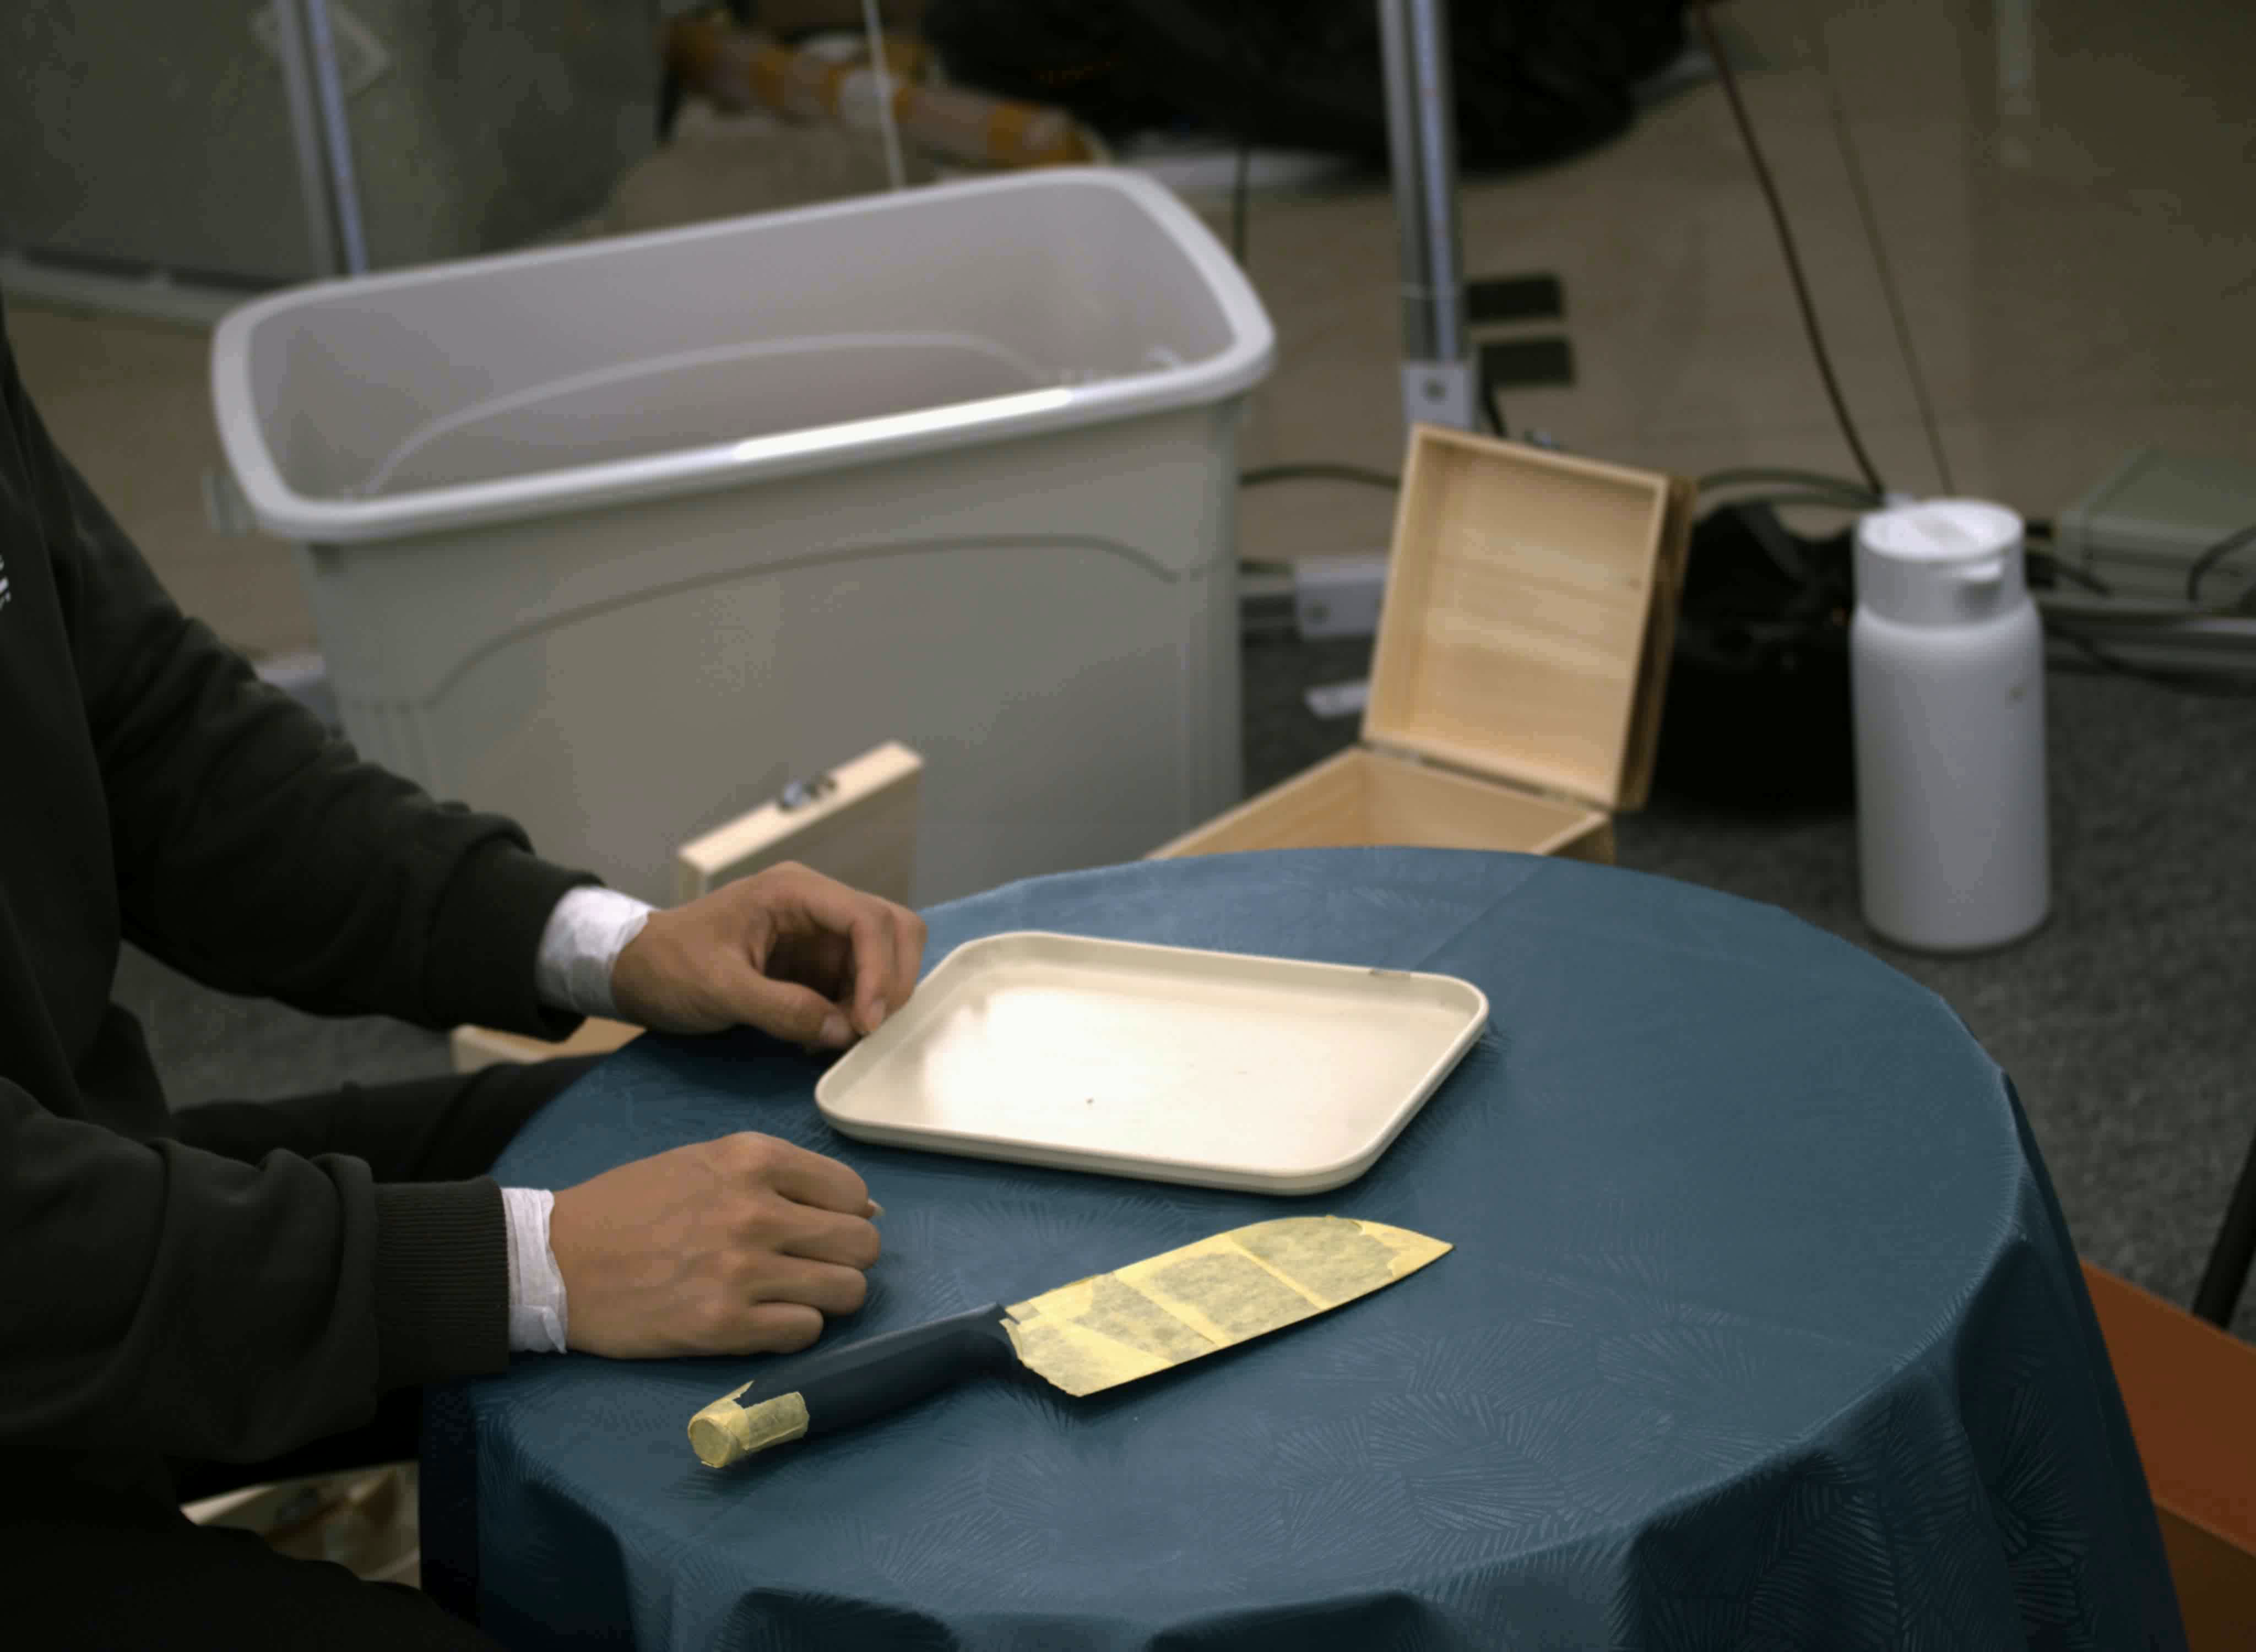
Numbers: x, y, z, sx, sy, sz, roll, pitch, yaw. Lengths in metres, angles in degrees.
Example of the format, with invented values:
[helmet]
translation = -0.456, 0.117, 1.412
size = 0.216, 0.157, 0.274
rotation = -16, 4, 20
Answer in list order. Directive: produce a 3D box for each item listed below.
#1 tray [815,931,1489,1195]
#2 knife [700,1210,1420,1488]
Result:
[tray]
translation = 0.010, 0.093, 2.227
size = 0.239, 0.018, 0.169
rotation = 6, 28, 25
[knife]
translation = -0.018, 0.186, 2.038
size = 0.288, 0.027, 0.080
rotation = -17, 25, -24
